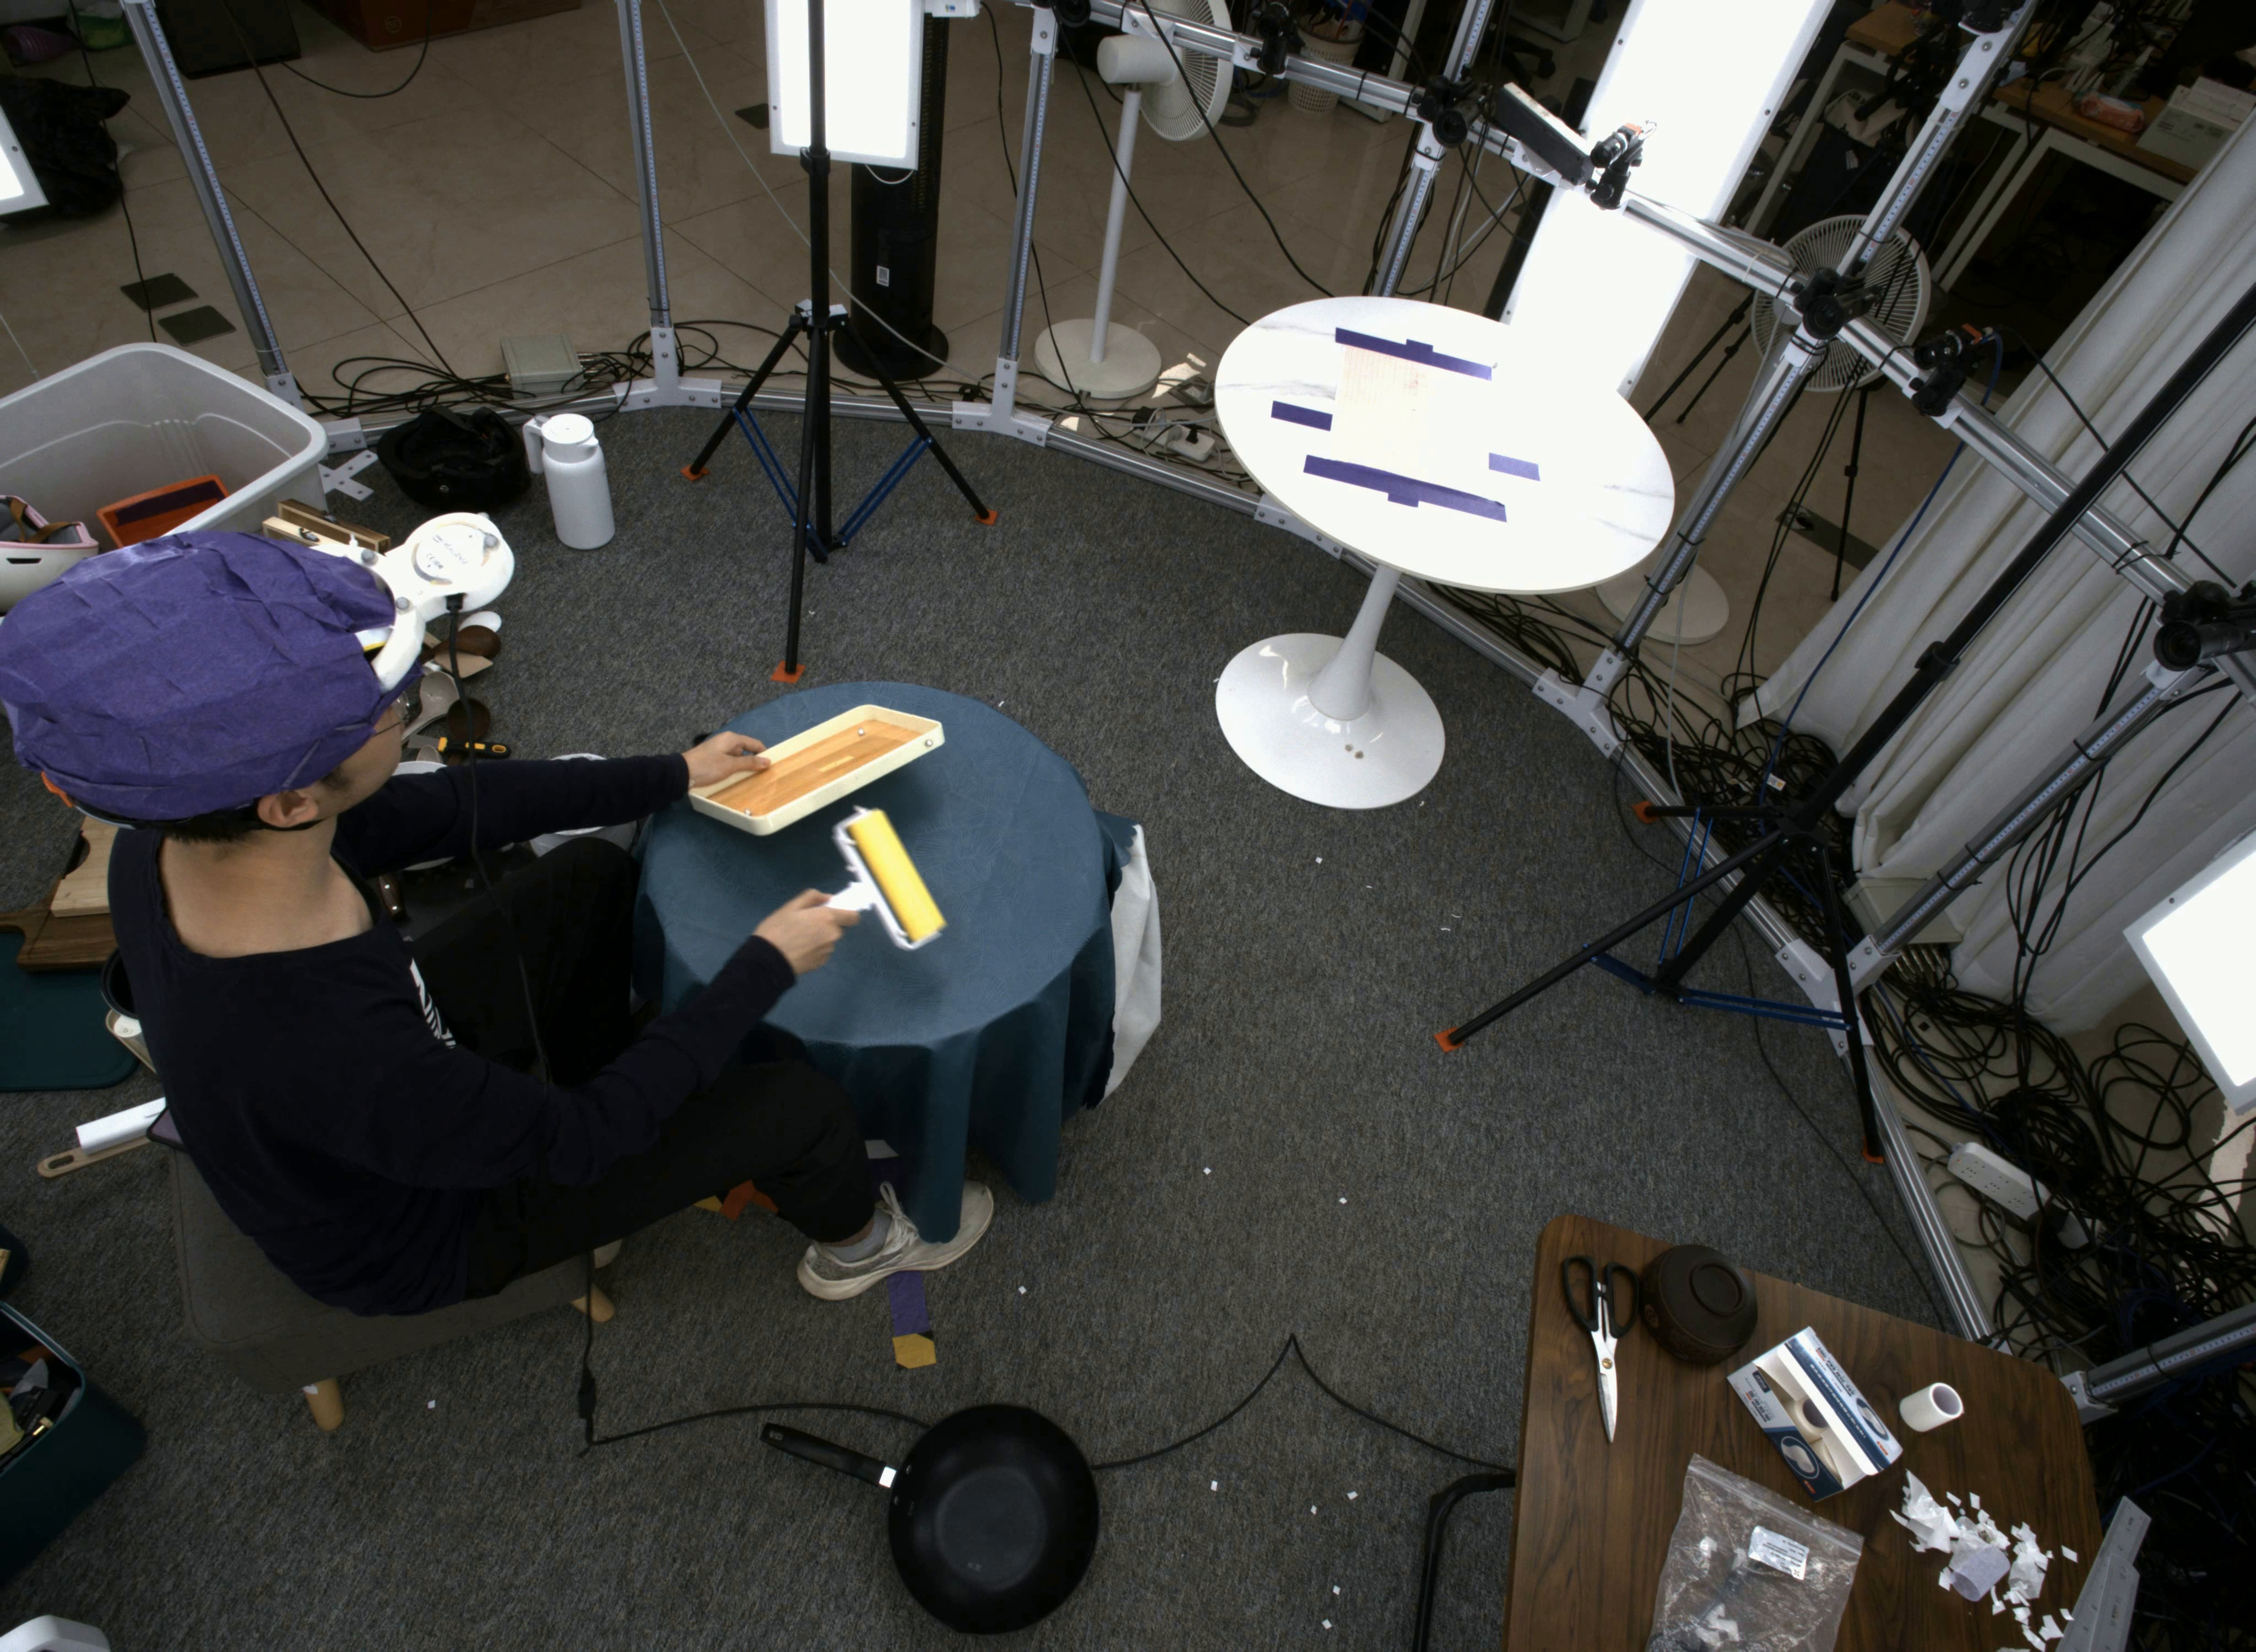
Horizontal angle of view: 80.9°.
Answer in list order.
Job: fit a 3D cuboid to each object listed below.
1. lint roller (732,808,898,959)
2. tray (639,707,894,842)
[{"bbox_3d":[-0.378,0.091,1.506,0.177,0.050,0.192,58,41,-9],"label":"lint roller"},{"bbox_3d":[-0.469,-0.074,1.685,0.184,0.028,0.301,13,36,41],"label":"tray"}]
